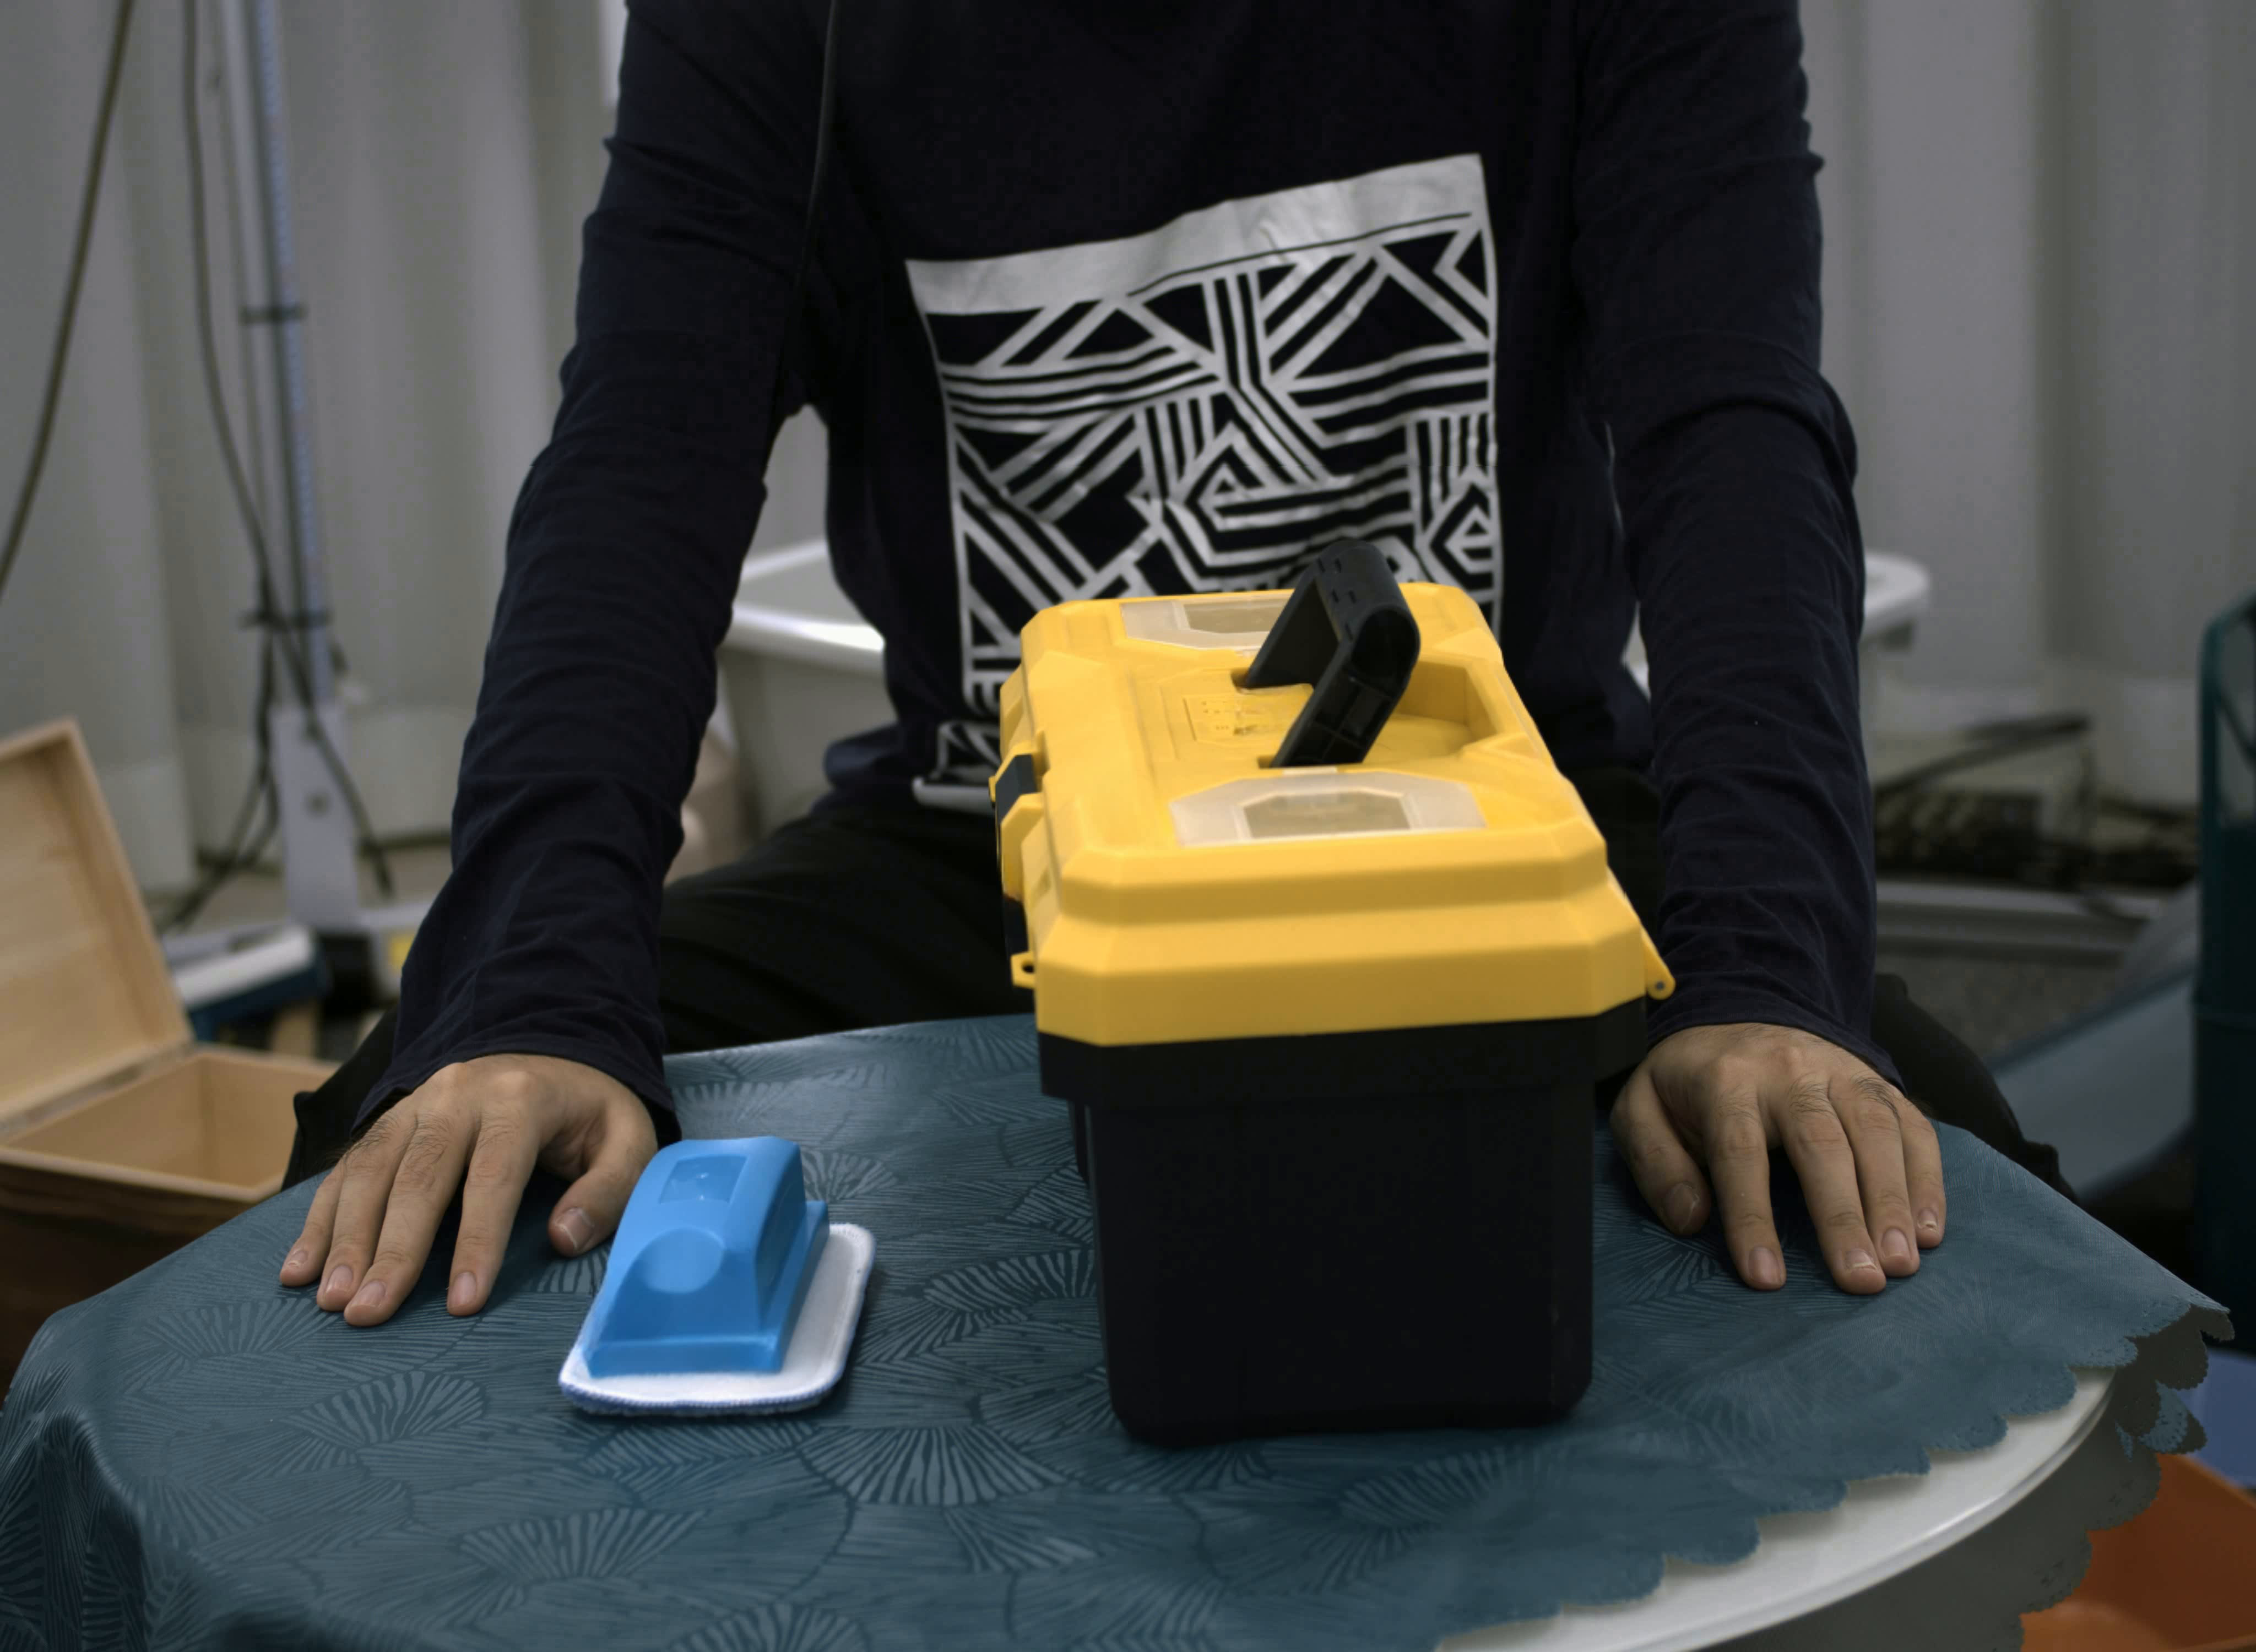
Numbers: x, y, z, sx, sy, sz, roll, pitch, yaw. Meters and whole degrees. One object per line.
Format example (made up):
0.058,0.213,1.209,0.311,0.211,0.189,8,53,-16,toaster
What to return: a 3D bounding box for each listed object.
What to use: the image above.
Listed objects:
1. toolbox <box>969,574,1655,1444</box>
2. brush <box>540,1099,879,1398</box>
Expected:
0.049,0.045,1.629,0.180,0.172,0.354,-3,15,-2,toolbox
-0.121,0.120,1.601,0.083,0.055,0.145,2,17,6,brush
